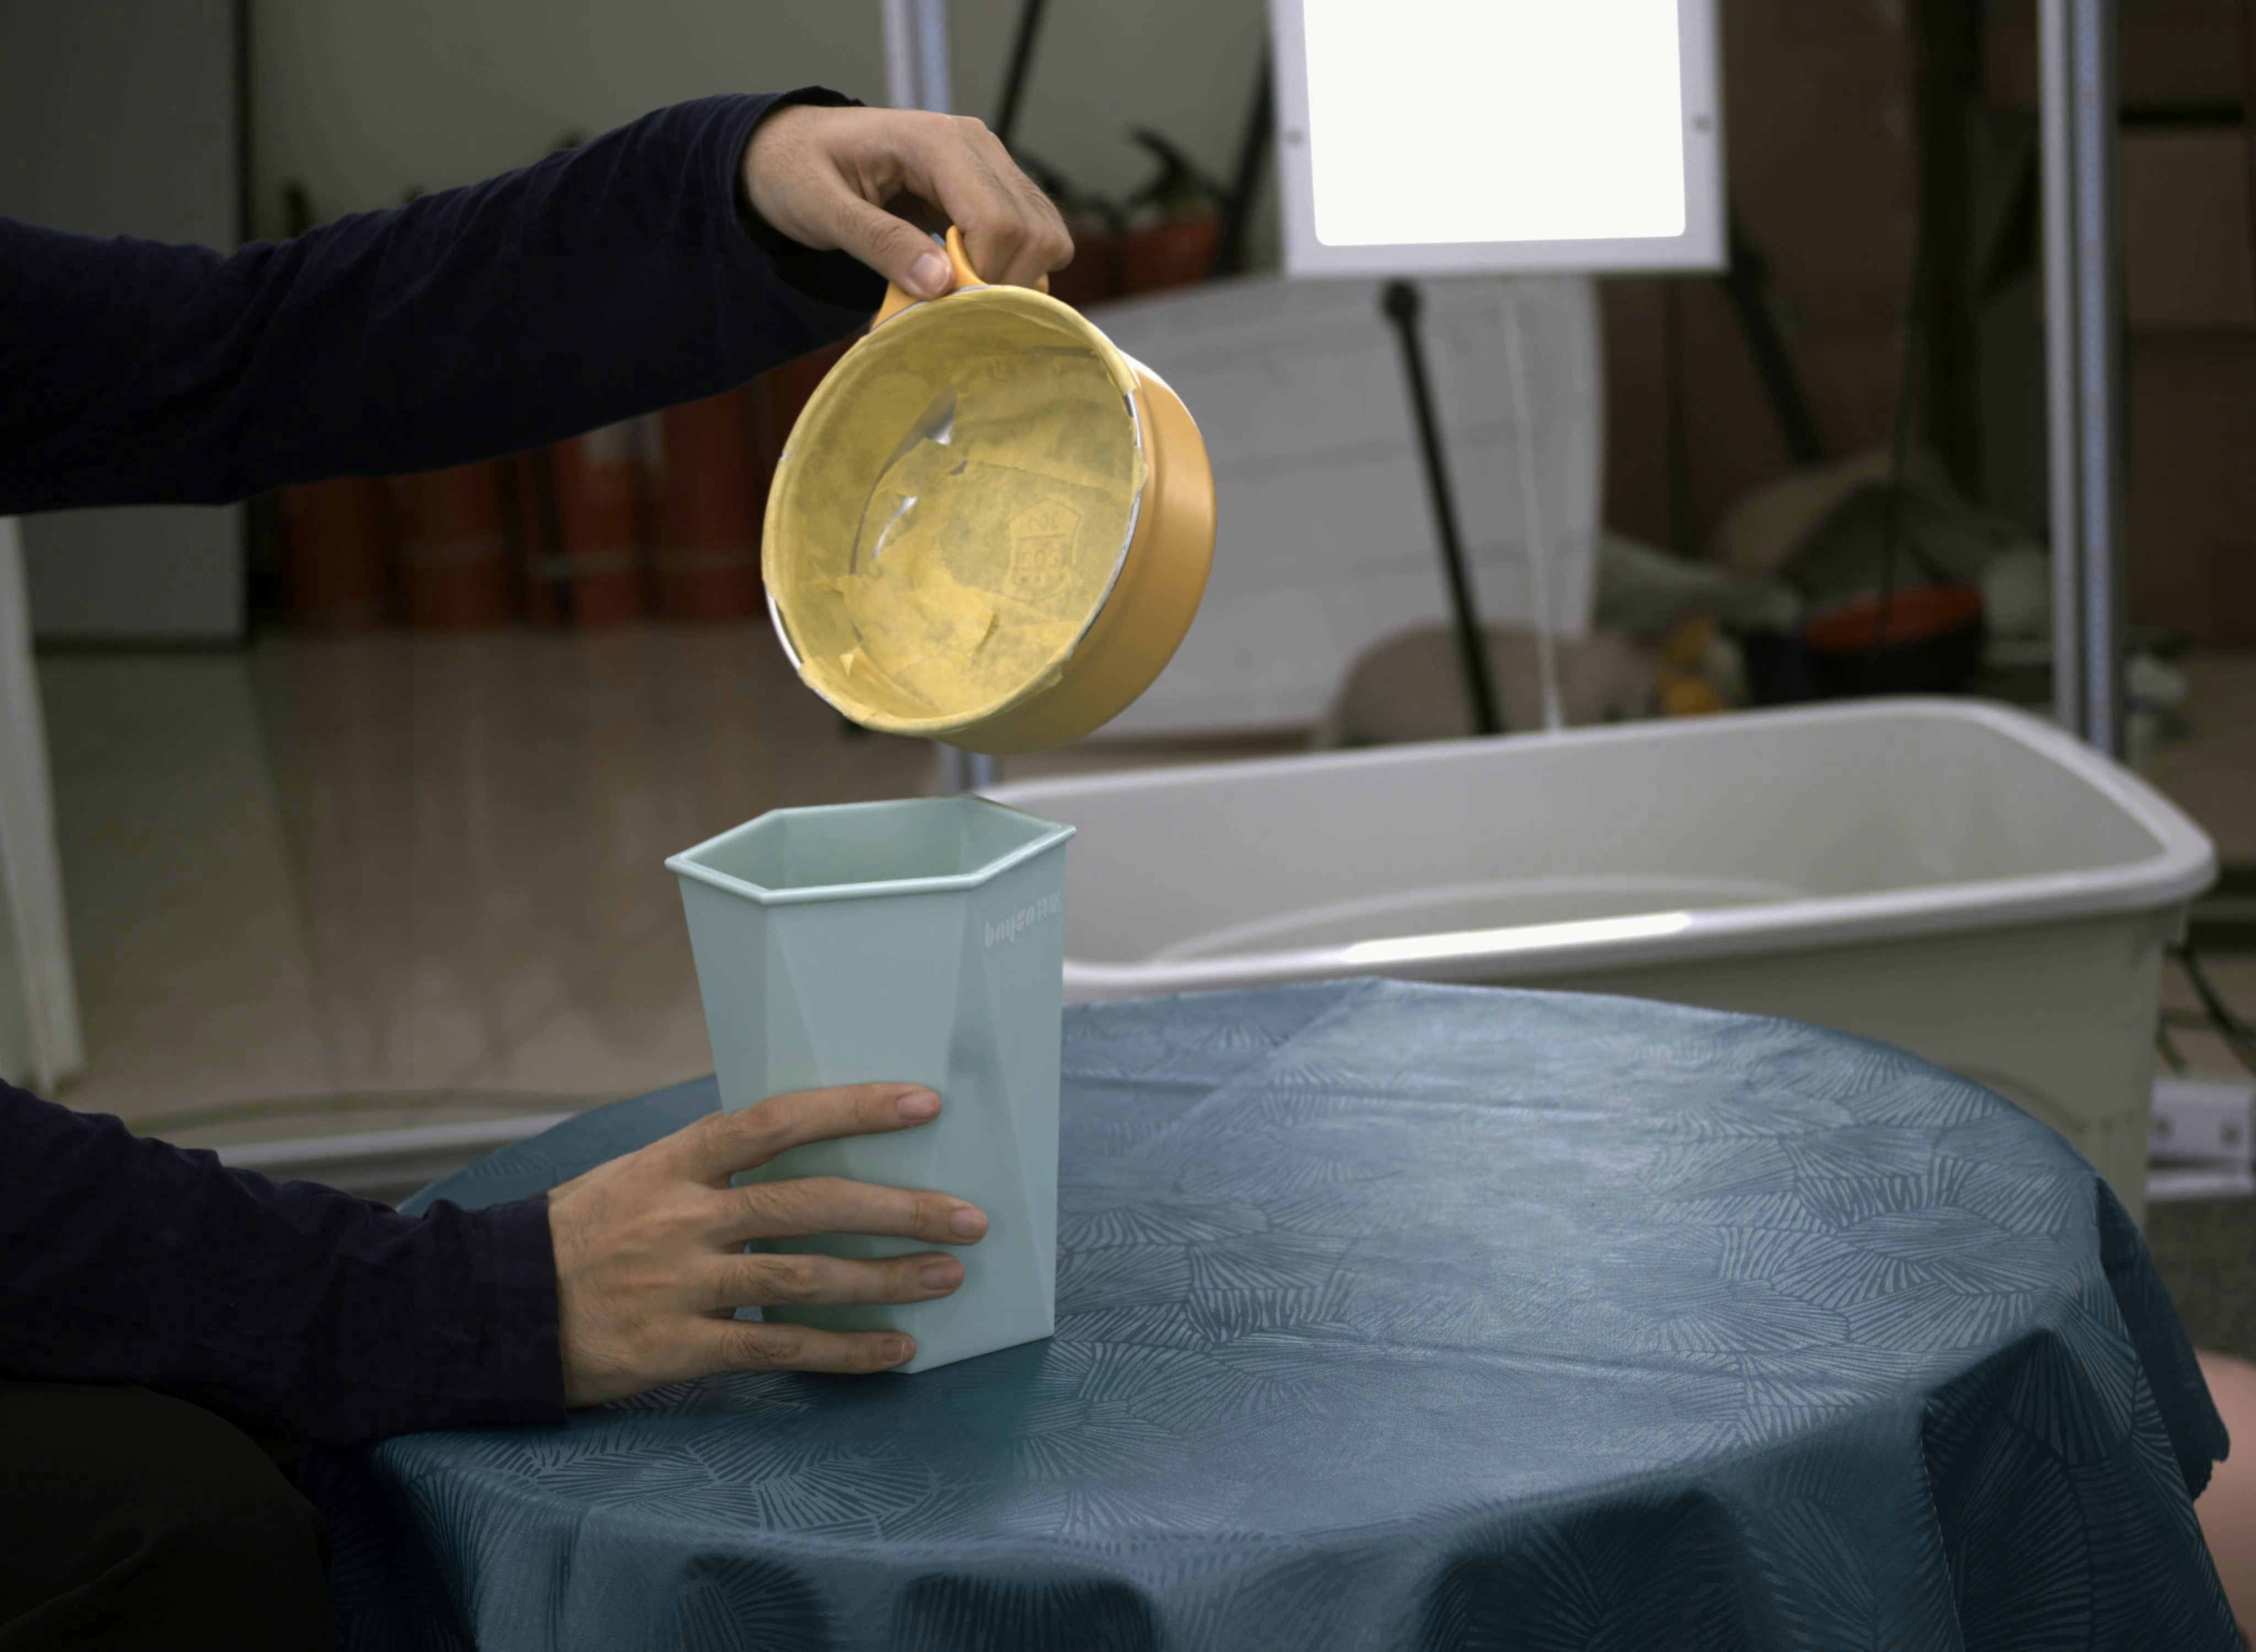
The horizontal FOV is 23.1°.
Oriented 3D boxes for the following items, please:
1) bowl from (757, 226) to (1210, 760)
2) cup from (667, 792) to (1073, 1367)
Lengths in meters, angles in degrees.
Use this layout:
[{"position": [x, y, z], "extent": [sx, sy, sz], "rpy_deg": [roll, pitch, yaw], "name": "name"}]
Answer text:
[{"position": [-0.043, -0.109, 1.813], "extent": [0.156, 0.179, 0.072], "rpy_deg": [-26, -27, 33], "name": "bowl"}, {"position": [-0.075, 0.081, 1.766], "extent": [0.117, 0.163, 0.128], "rpy_deg": [2, 14, 29], "name": "cup"}]
